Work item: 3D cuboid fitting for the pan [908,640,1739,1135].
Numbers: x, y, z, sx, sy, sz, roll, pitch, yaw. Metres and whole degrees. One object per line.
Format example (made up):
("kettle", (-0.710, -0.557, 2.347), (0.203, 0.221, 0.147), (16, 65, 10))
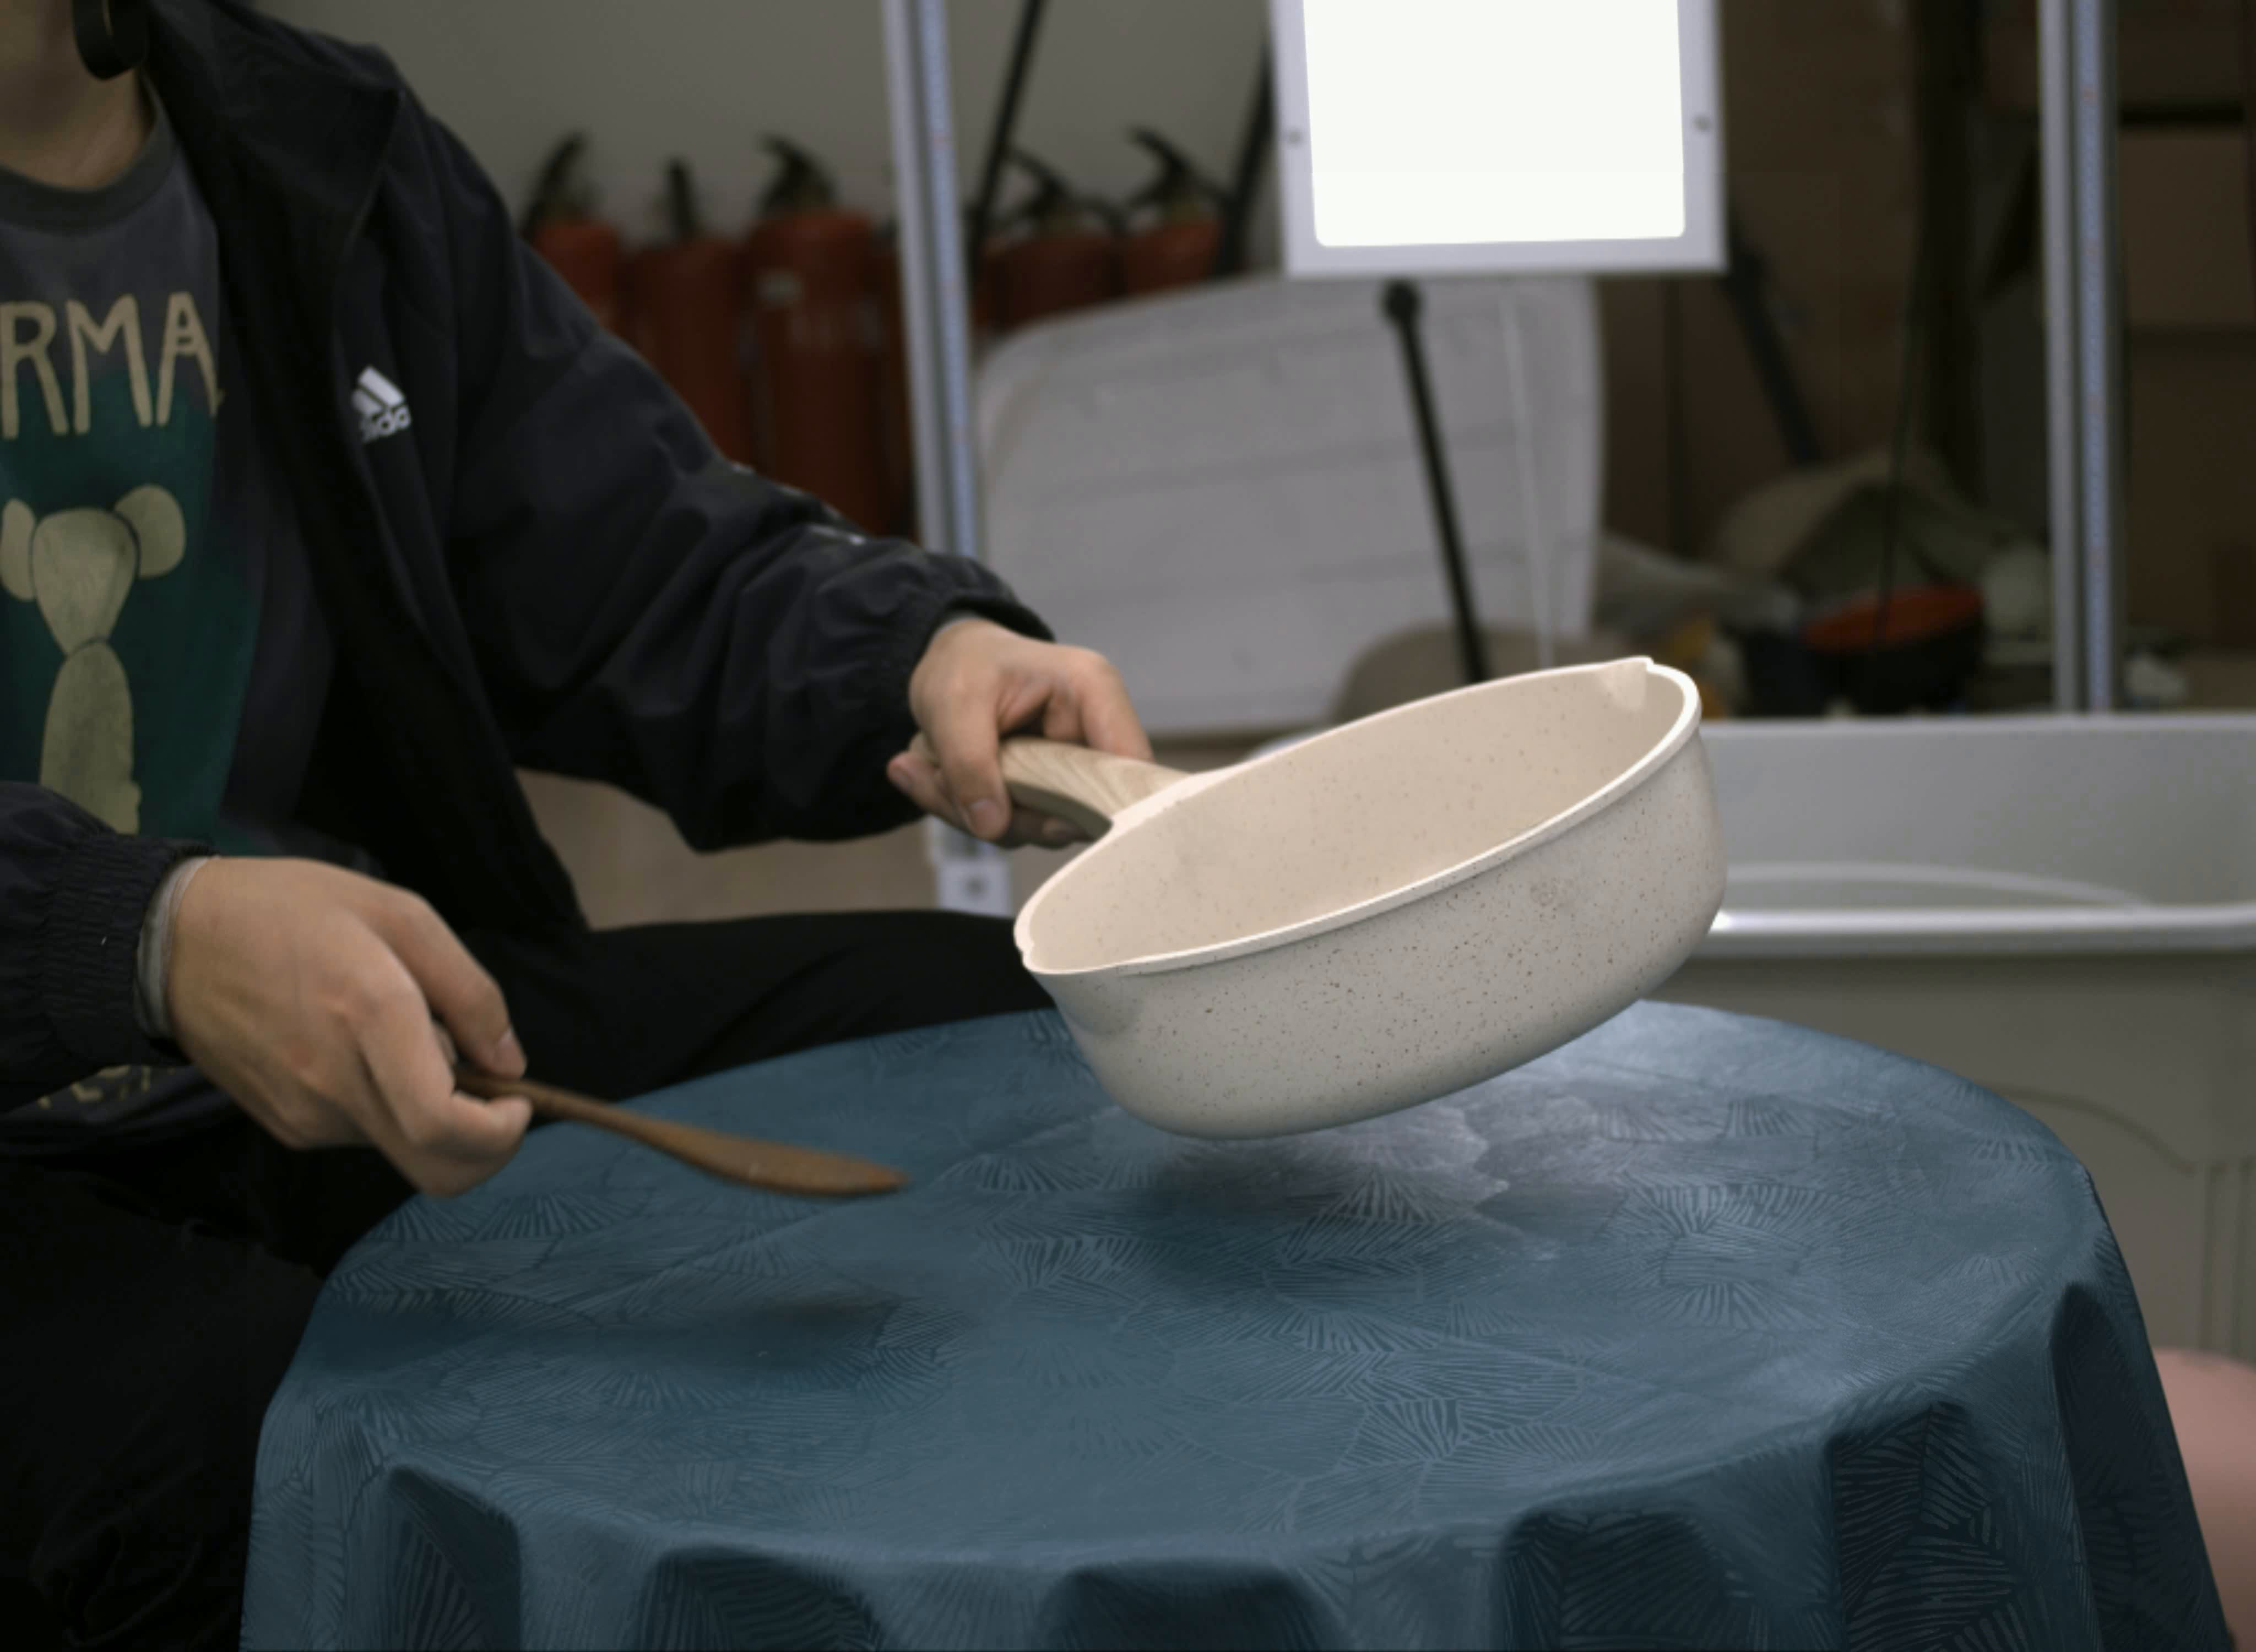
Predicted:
("pan", (0.048, 0.018, 1.978), (0.258, 0.102, 0.443), (-29, 15, -25))

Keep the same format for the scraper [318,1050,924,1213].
("scraper", (-0.170, 0.101, 1.812), (0.214, 0.011, 0.074), (14, 5, 21))
